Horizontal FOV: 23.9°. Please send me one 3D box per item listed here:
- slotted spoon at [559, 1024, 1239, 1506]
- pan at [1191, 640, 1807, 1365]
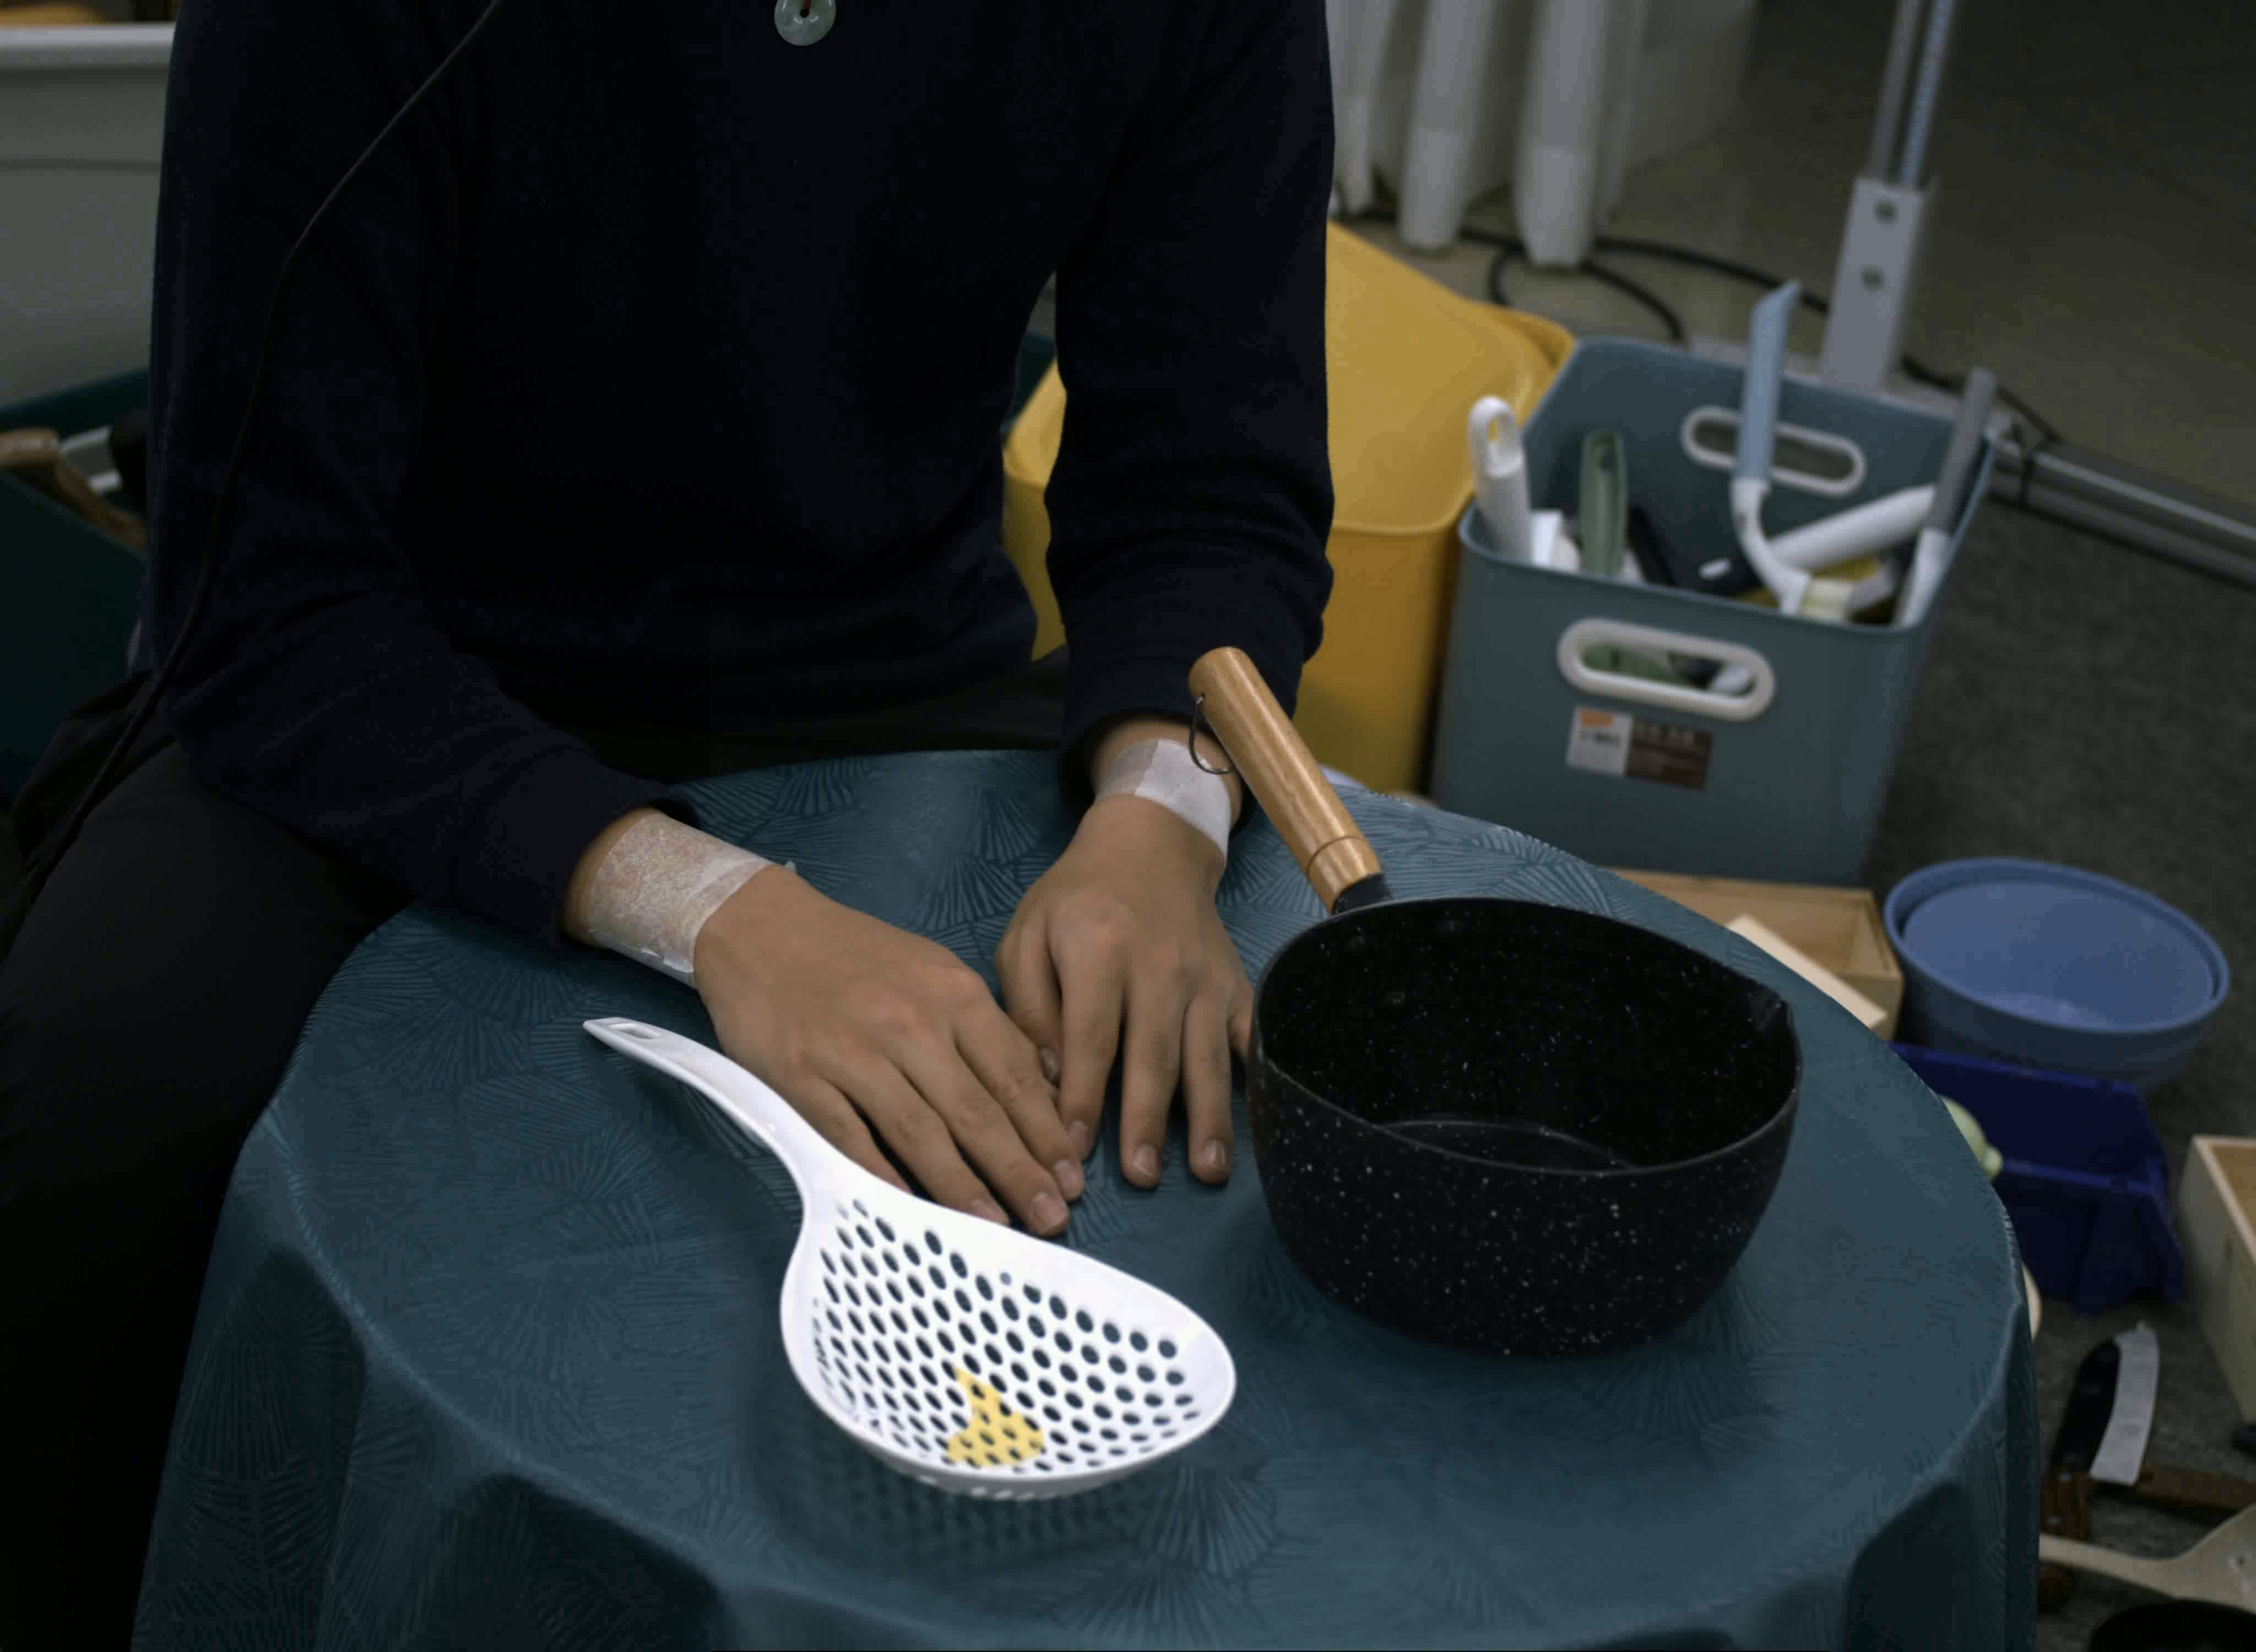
[{"bbox_3d":[-0.094,0.130,1.723,0.136,0.050,0.351,-12,34,-29],"label":"slotted spoon"},{"bbox_3d":[0.095,0.058,1.835,0.206,0.108,0.346,-8,31,-24],"label":"pan"}]
